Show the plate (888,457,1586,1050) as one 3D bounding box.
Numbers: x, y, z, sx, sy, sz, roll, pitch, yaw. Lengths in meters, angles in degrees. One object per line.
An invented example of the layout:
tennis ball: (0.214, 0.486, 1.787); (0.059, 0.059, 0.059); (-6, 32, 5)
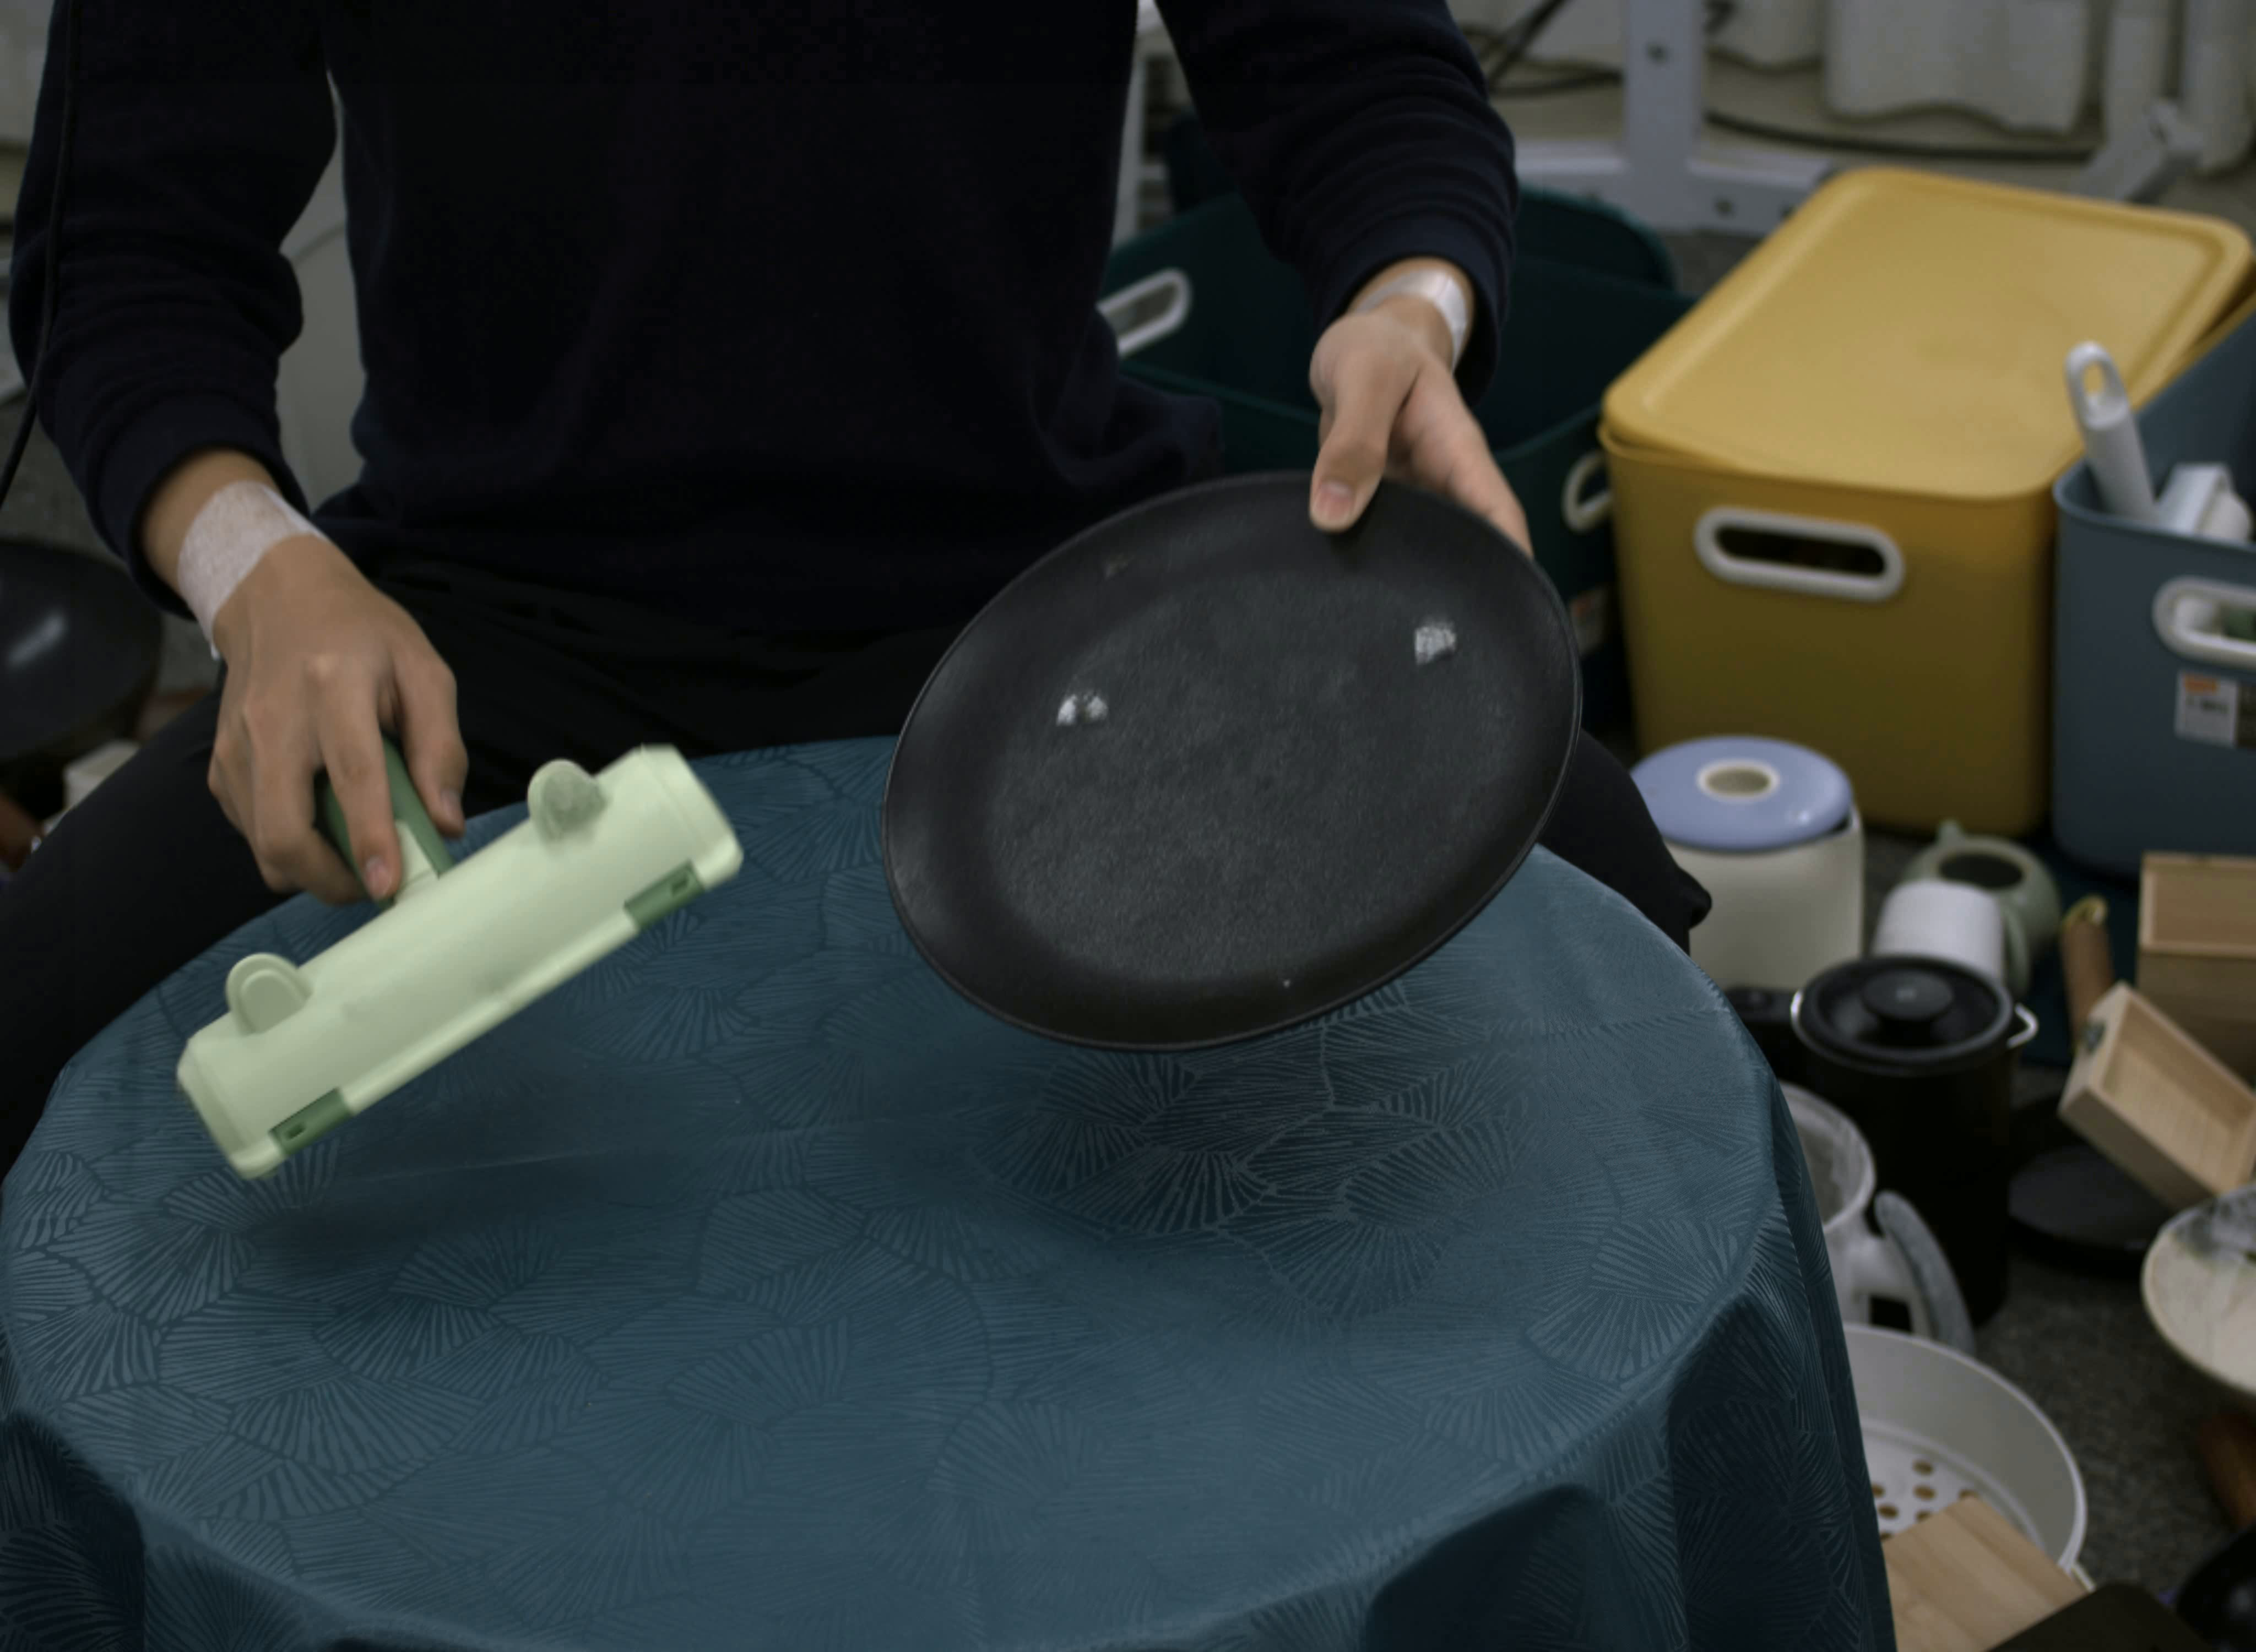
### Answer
plate: (0.037, -0.023, 1.870); (0.242, 0.023, 0.249); (-11, 49, 14)

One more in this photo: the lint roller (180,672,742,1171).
lint roller: (-0.250, -0.001, 1.874); (0.199, 0.081, 0.185); (-35, 58, -7)
